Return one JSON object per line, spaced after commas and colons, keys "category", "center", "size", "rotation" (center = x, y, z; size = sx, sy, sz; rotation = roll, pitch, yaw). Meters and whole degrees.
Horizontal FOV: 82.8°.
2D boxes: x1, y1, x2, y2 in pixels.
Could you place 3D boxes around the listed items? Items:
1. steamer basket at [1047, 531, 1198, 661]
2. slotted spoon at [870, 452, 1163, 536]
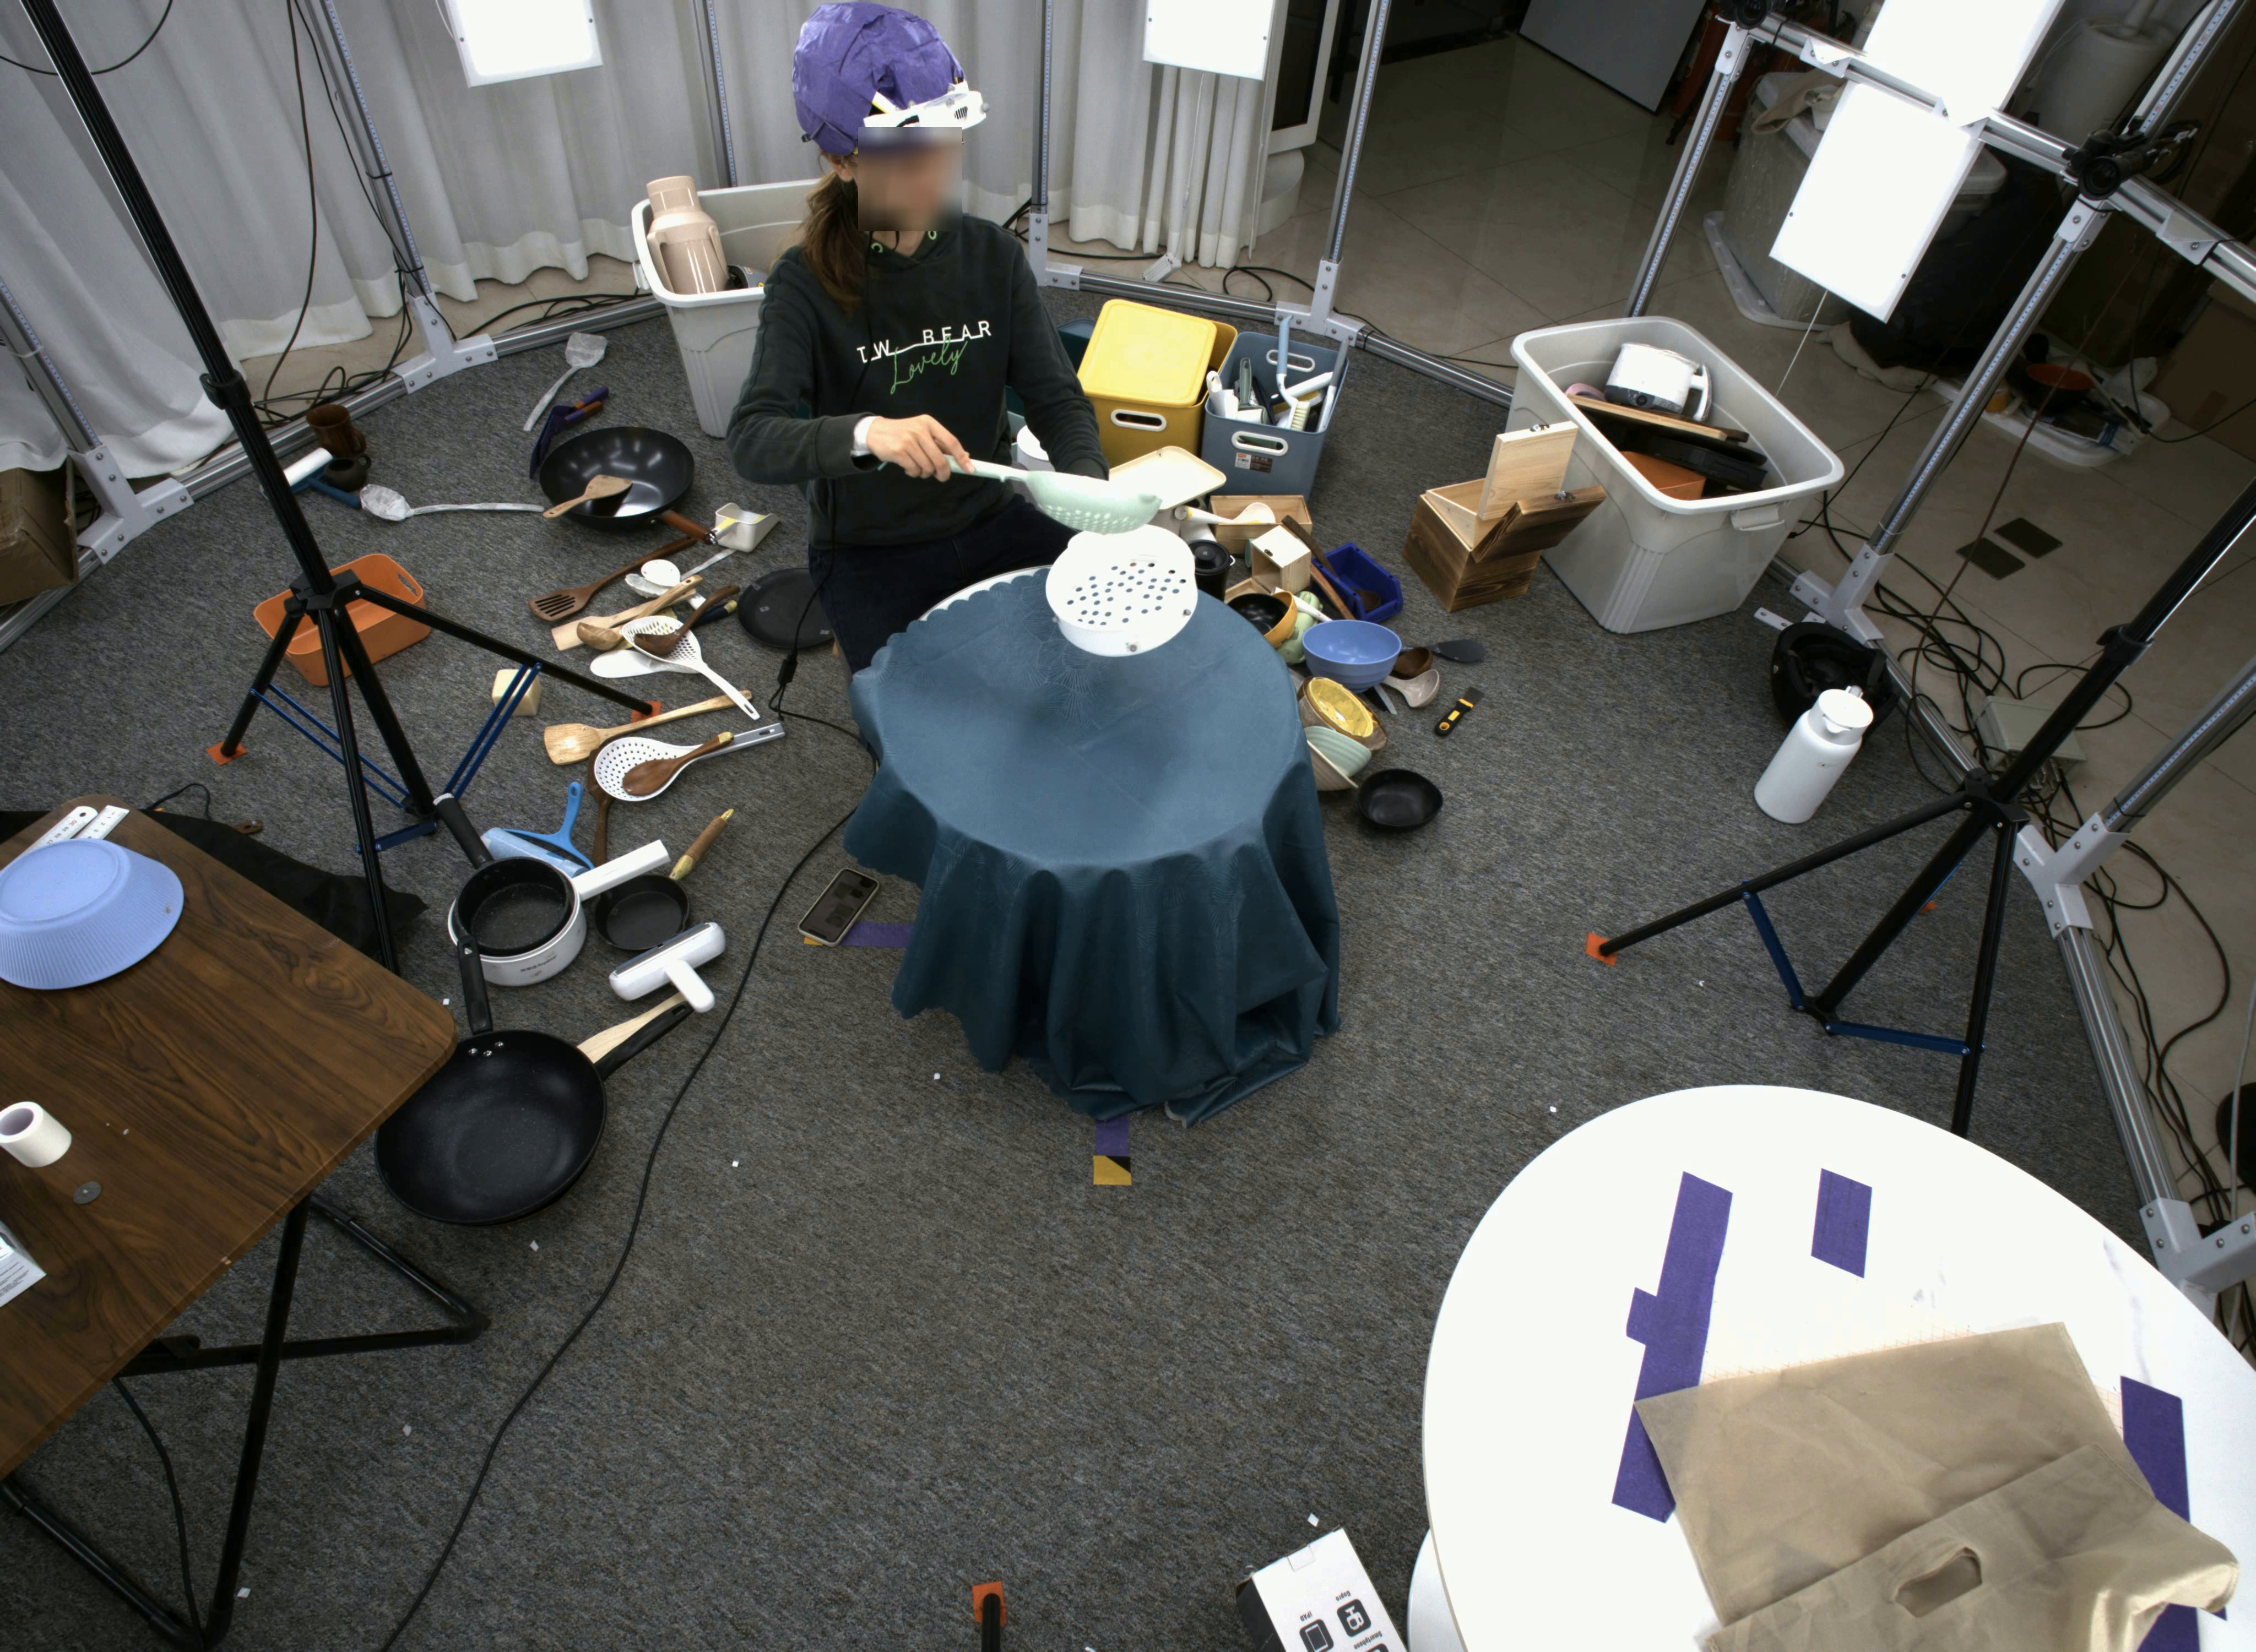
{"category": "steamer basket", "center": [-0.004, -0.308, 1.734], "size": [0.202, 0.067, 0.236], "rotation": [-26, 50, -9]}
{"category": "slotted spoon", "center": [-0.137, -0.426, 1.616], "size": [0.358, 0.075, 0.170], "rotation": [16, 7, -4]}
